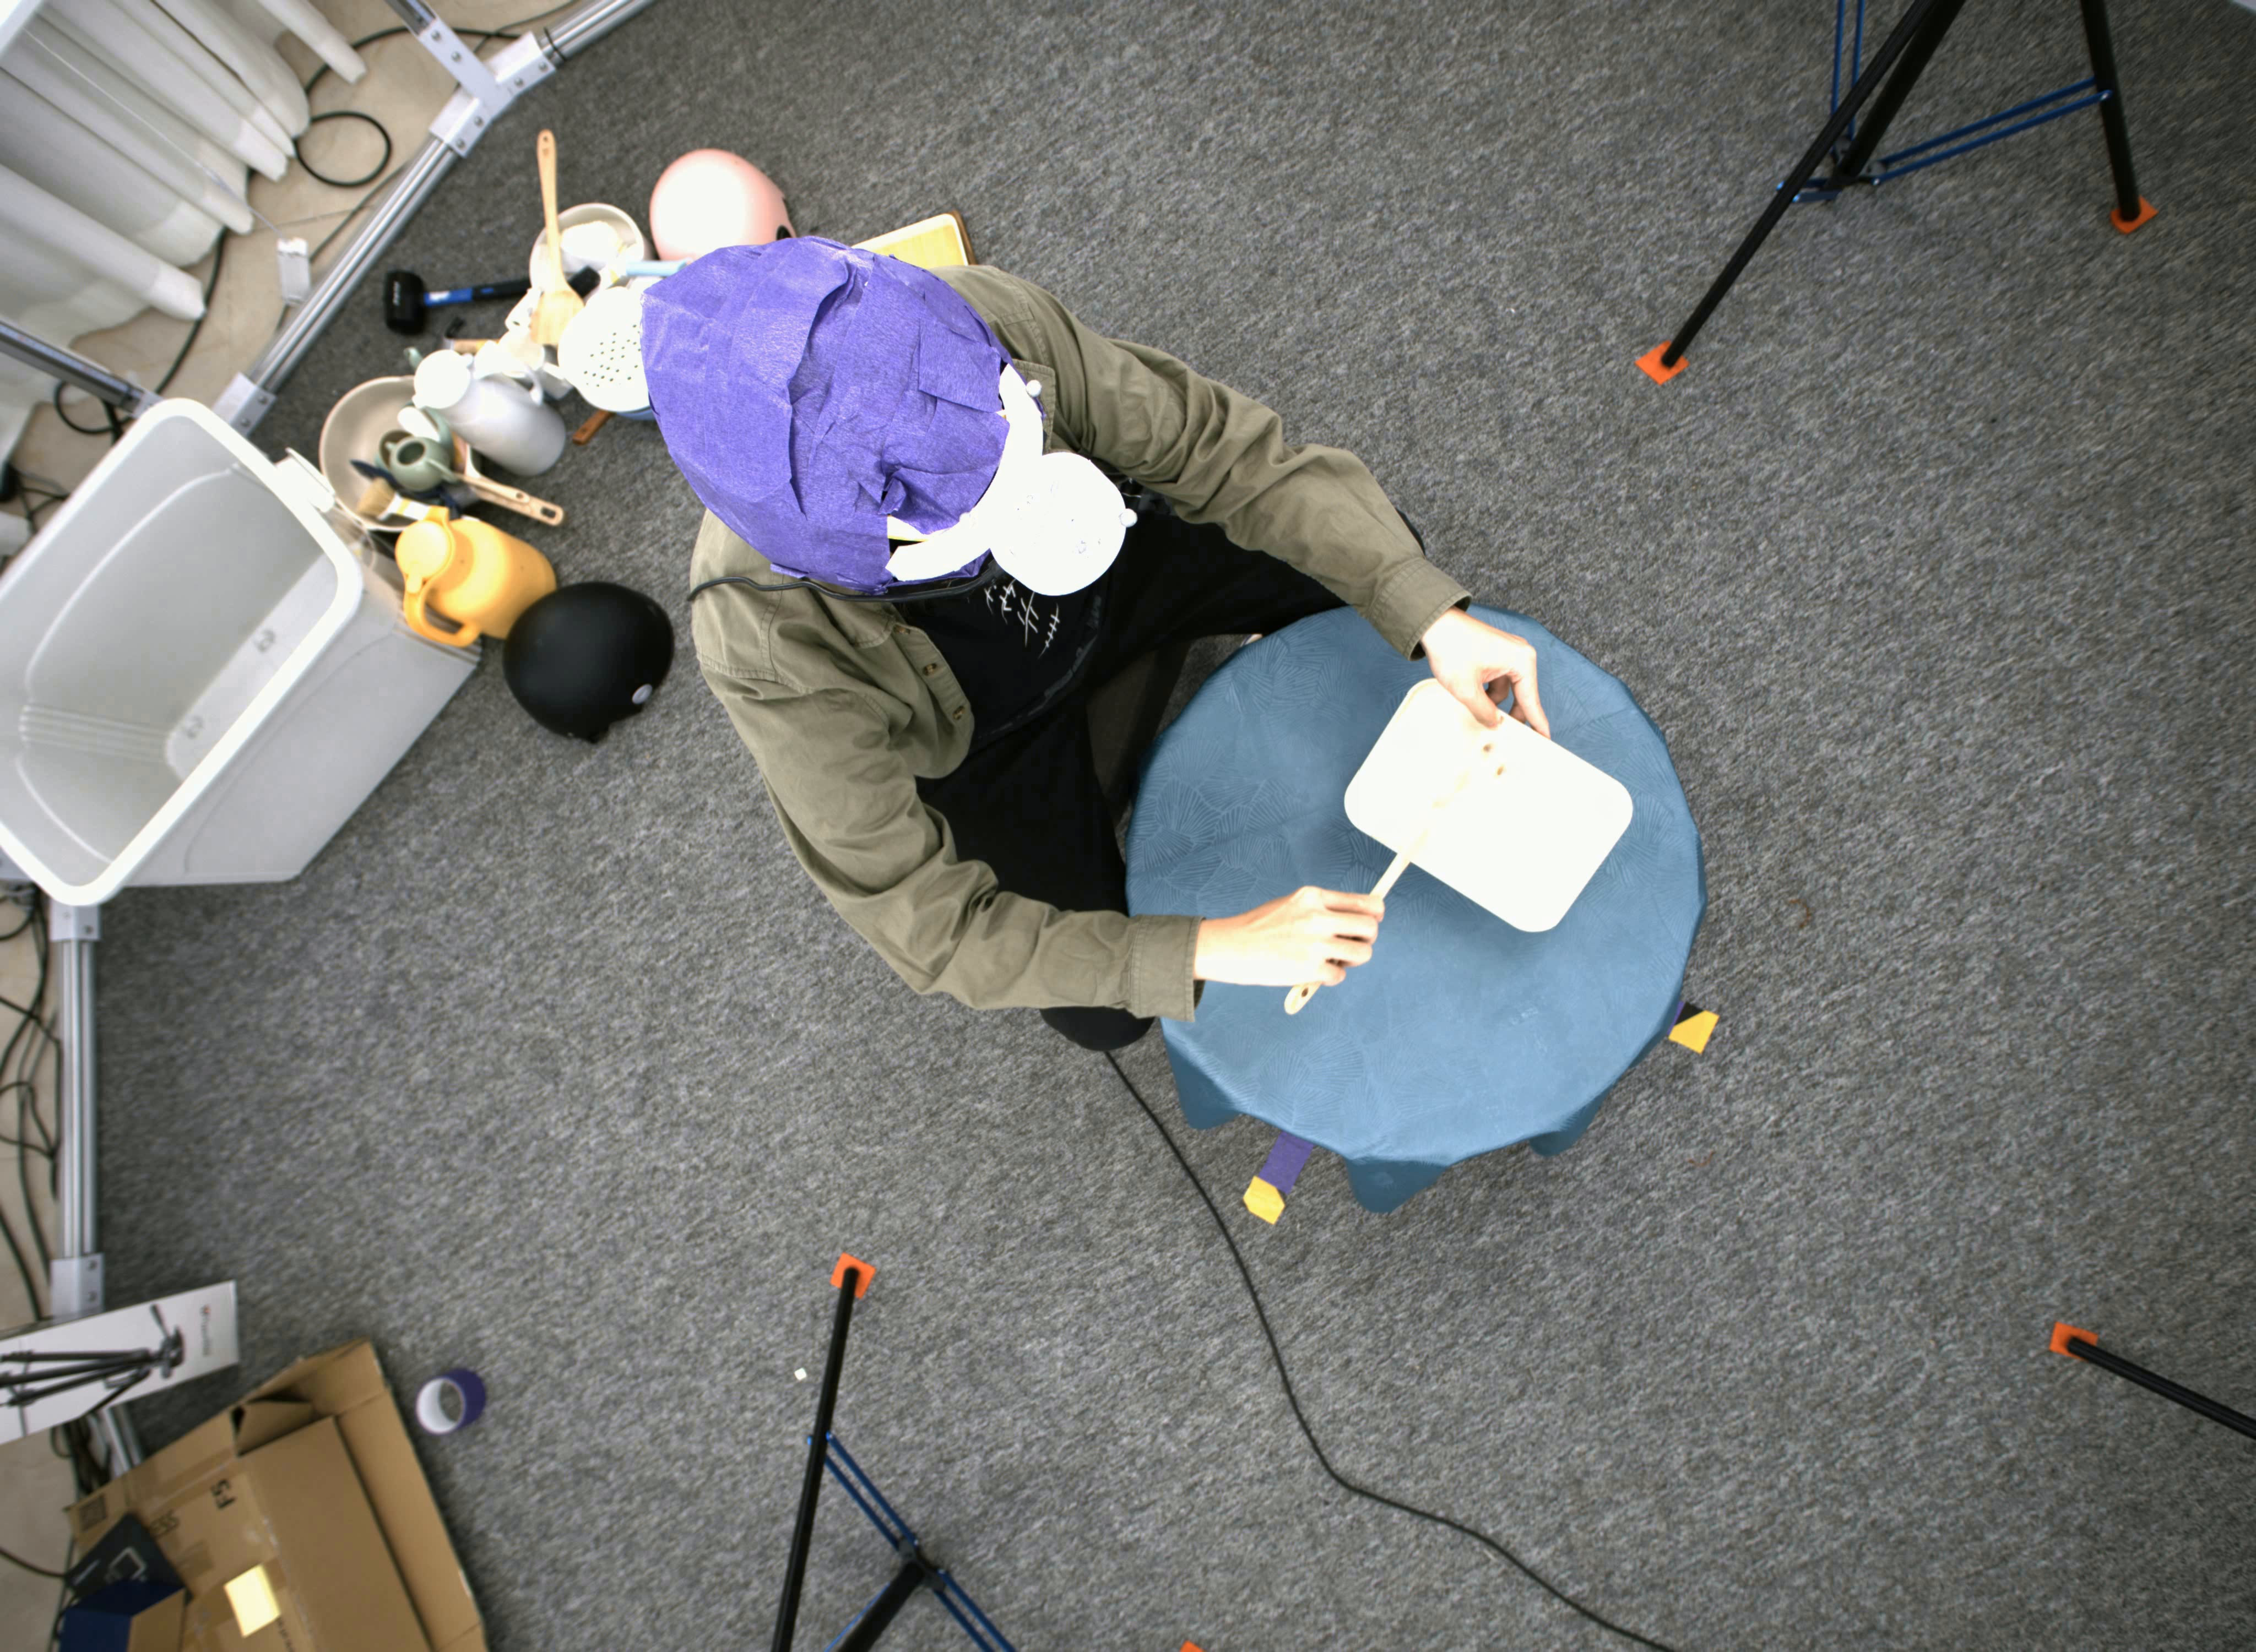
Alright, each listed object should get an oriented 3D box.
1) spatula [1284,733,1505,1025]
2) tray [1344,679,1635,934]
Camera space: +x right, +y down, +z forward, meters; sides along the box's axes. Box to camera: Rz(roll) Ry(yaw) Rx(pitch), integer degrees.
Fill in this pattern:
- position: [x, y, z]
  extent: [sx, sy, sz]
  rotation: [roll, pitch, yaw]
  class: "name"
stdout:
- position: [0.239, 0.046, 1.232]
  extent: [0.016, 0.081, 0.324]
  rotation: [31, 77, 35]
  class: "spatula"
- position: [0.340, -0.020, 1.302]
  extent: [0.239, 0.017, 0.174]
  rotation: [32, 112, 5]
  class: "tray"
